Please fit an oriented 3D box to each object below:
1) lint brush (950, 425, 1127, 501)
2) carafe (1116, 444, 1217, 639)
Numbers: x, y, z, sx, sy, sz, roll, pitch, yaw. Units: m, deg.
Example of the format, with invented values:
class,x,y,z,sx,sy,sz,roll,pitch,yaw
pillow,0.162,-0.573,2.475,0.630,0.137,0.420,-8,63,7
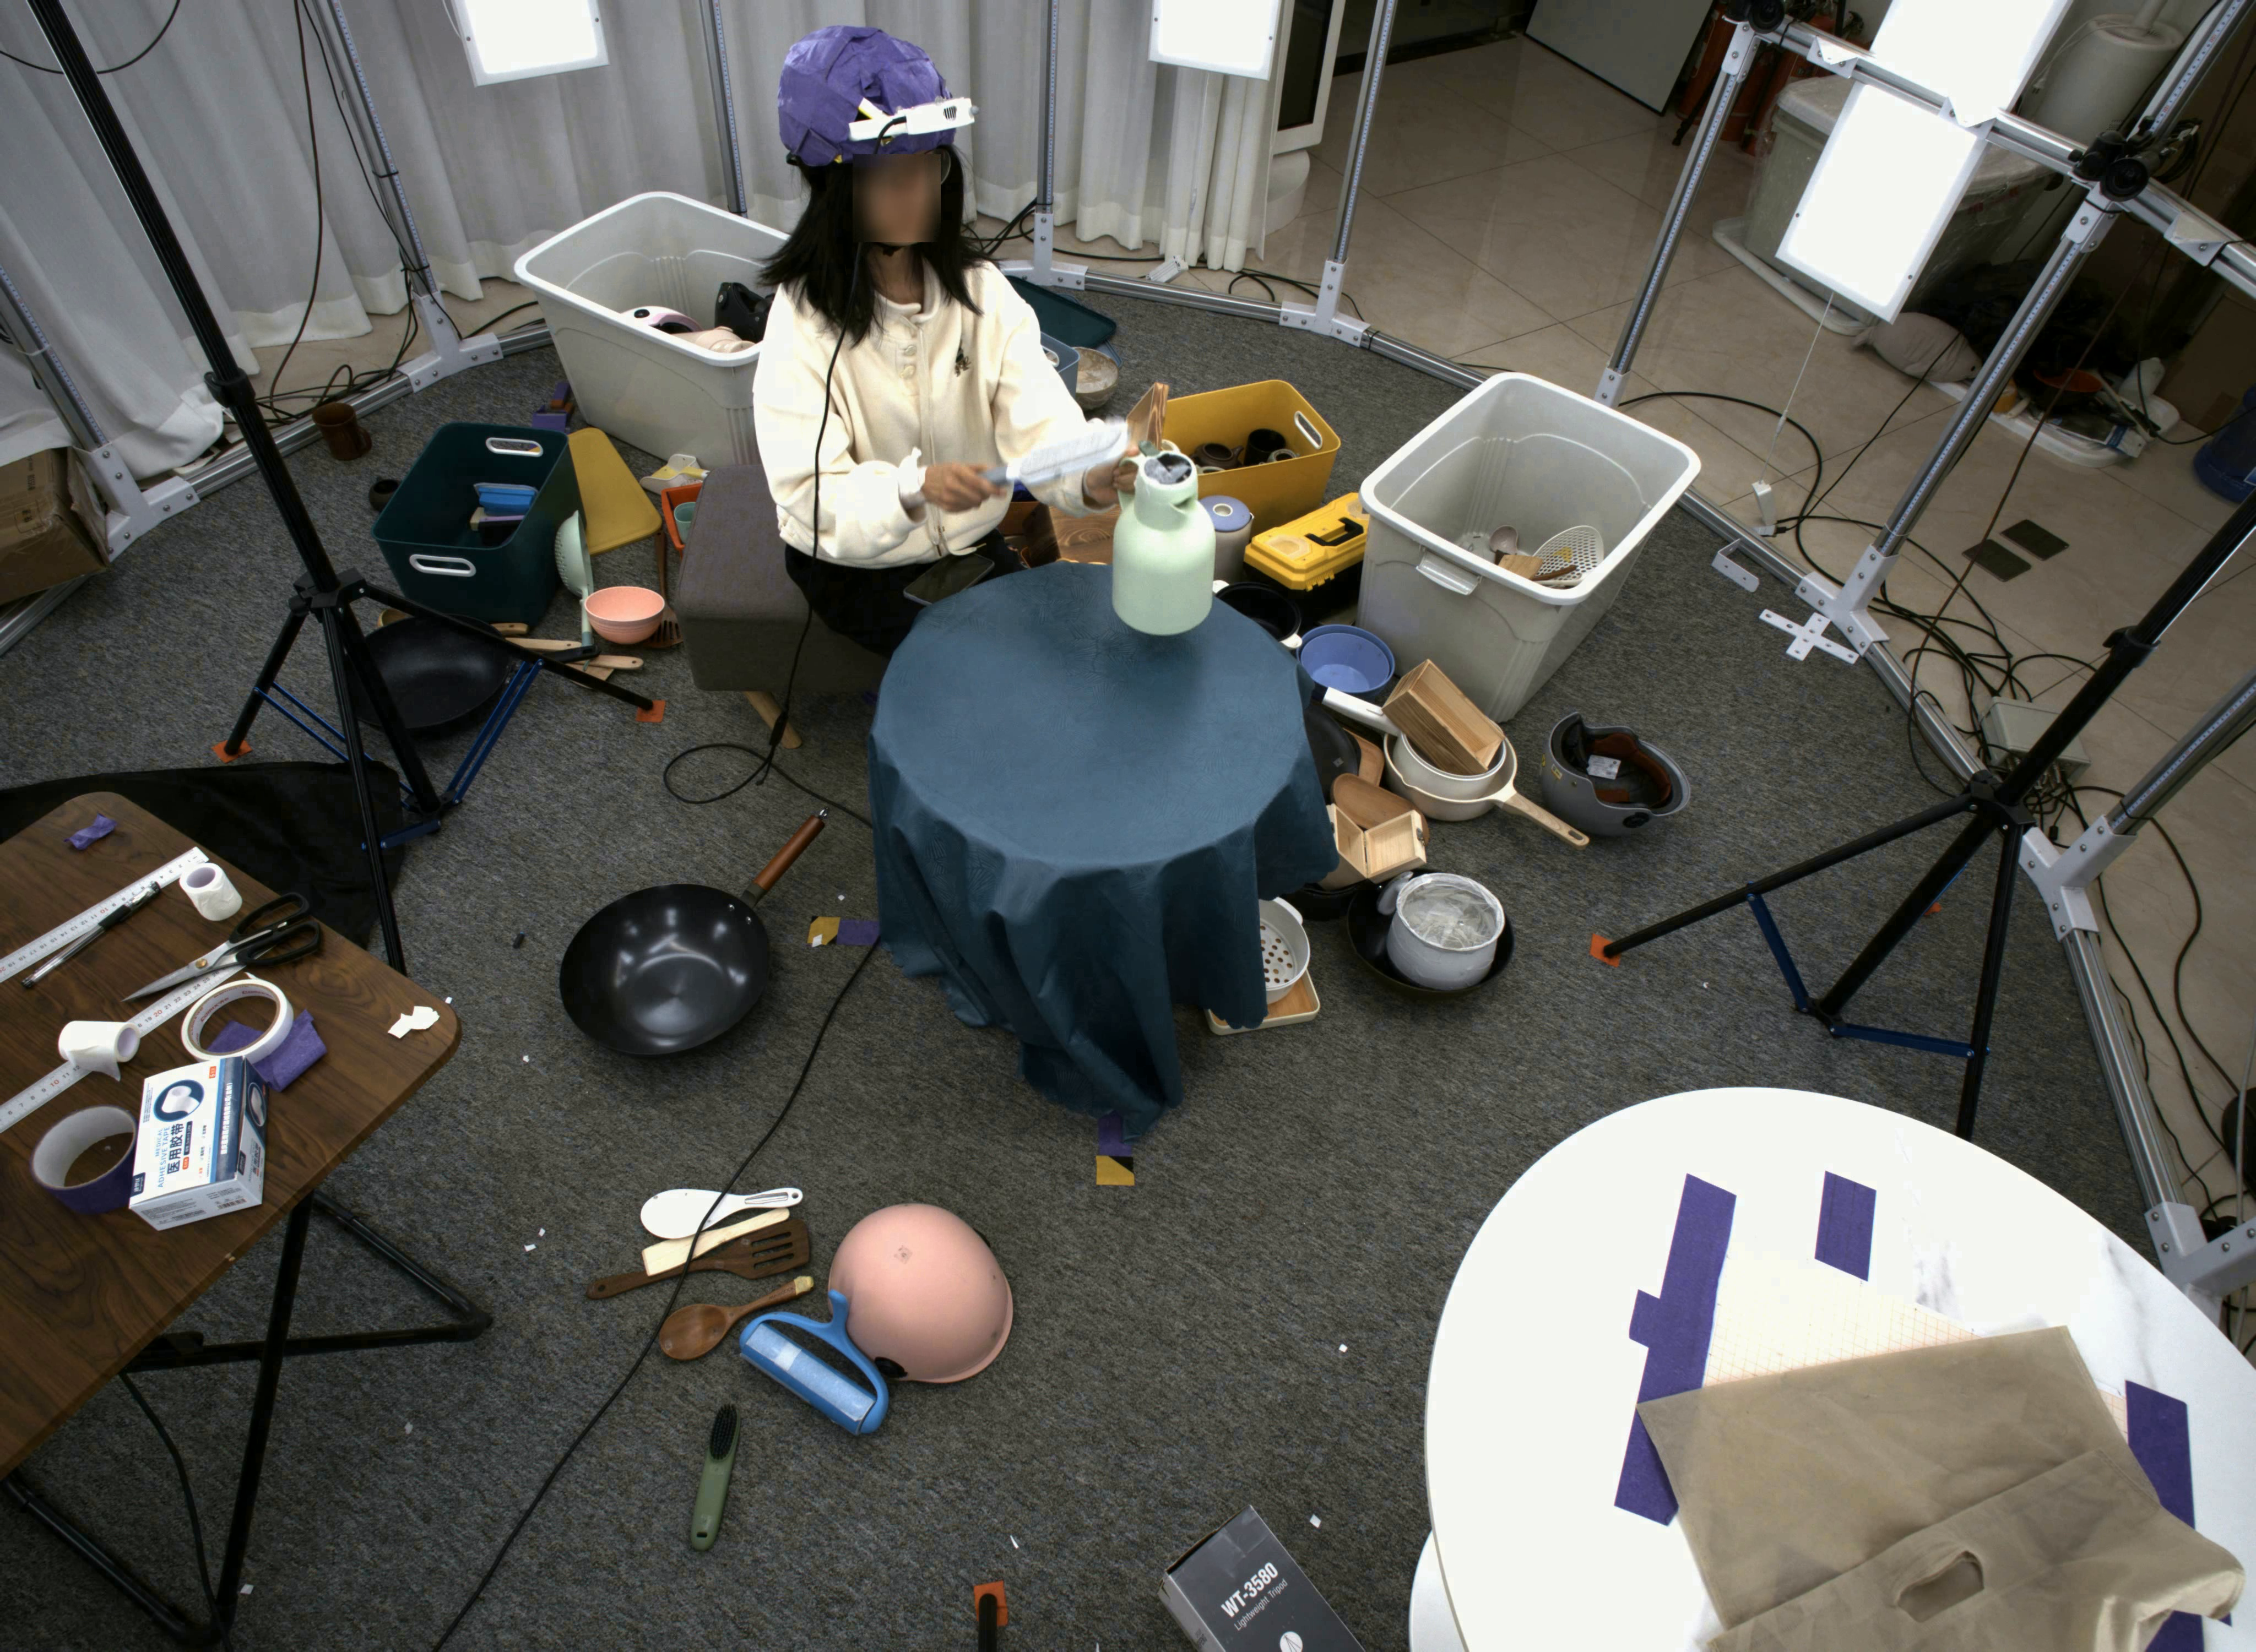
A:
class,x,y,z,sx,sy,sz,roll,pitch,yaw
lint brush,-0.122,-0.462,1.669,0.310,0.020,0.061,-3,66,40
carafe,0.046,-0.401,1.792,0.145,0.250,0.191,-26,54,-16
